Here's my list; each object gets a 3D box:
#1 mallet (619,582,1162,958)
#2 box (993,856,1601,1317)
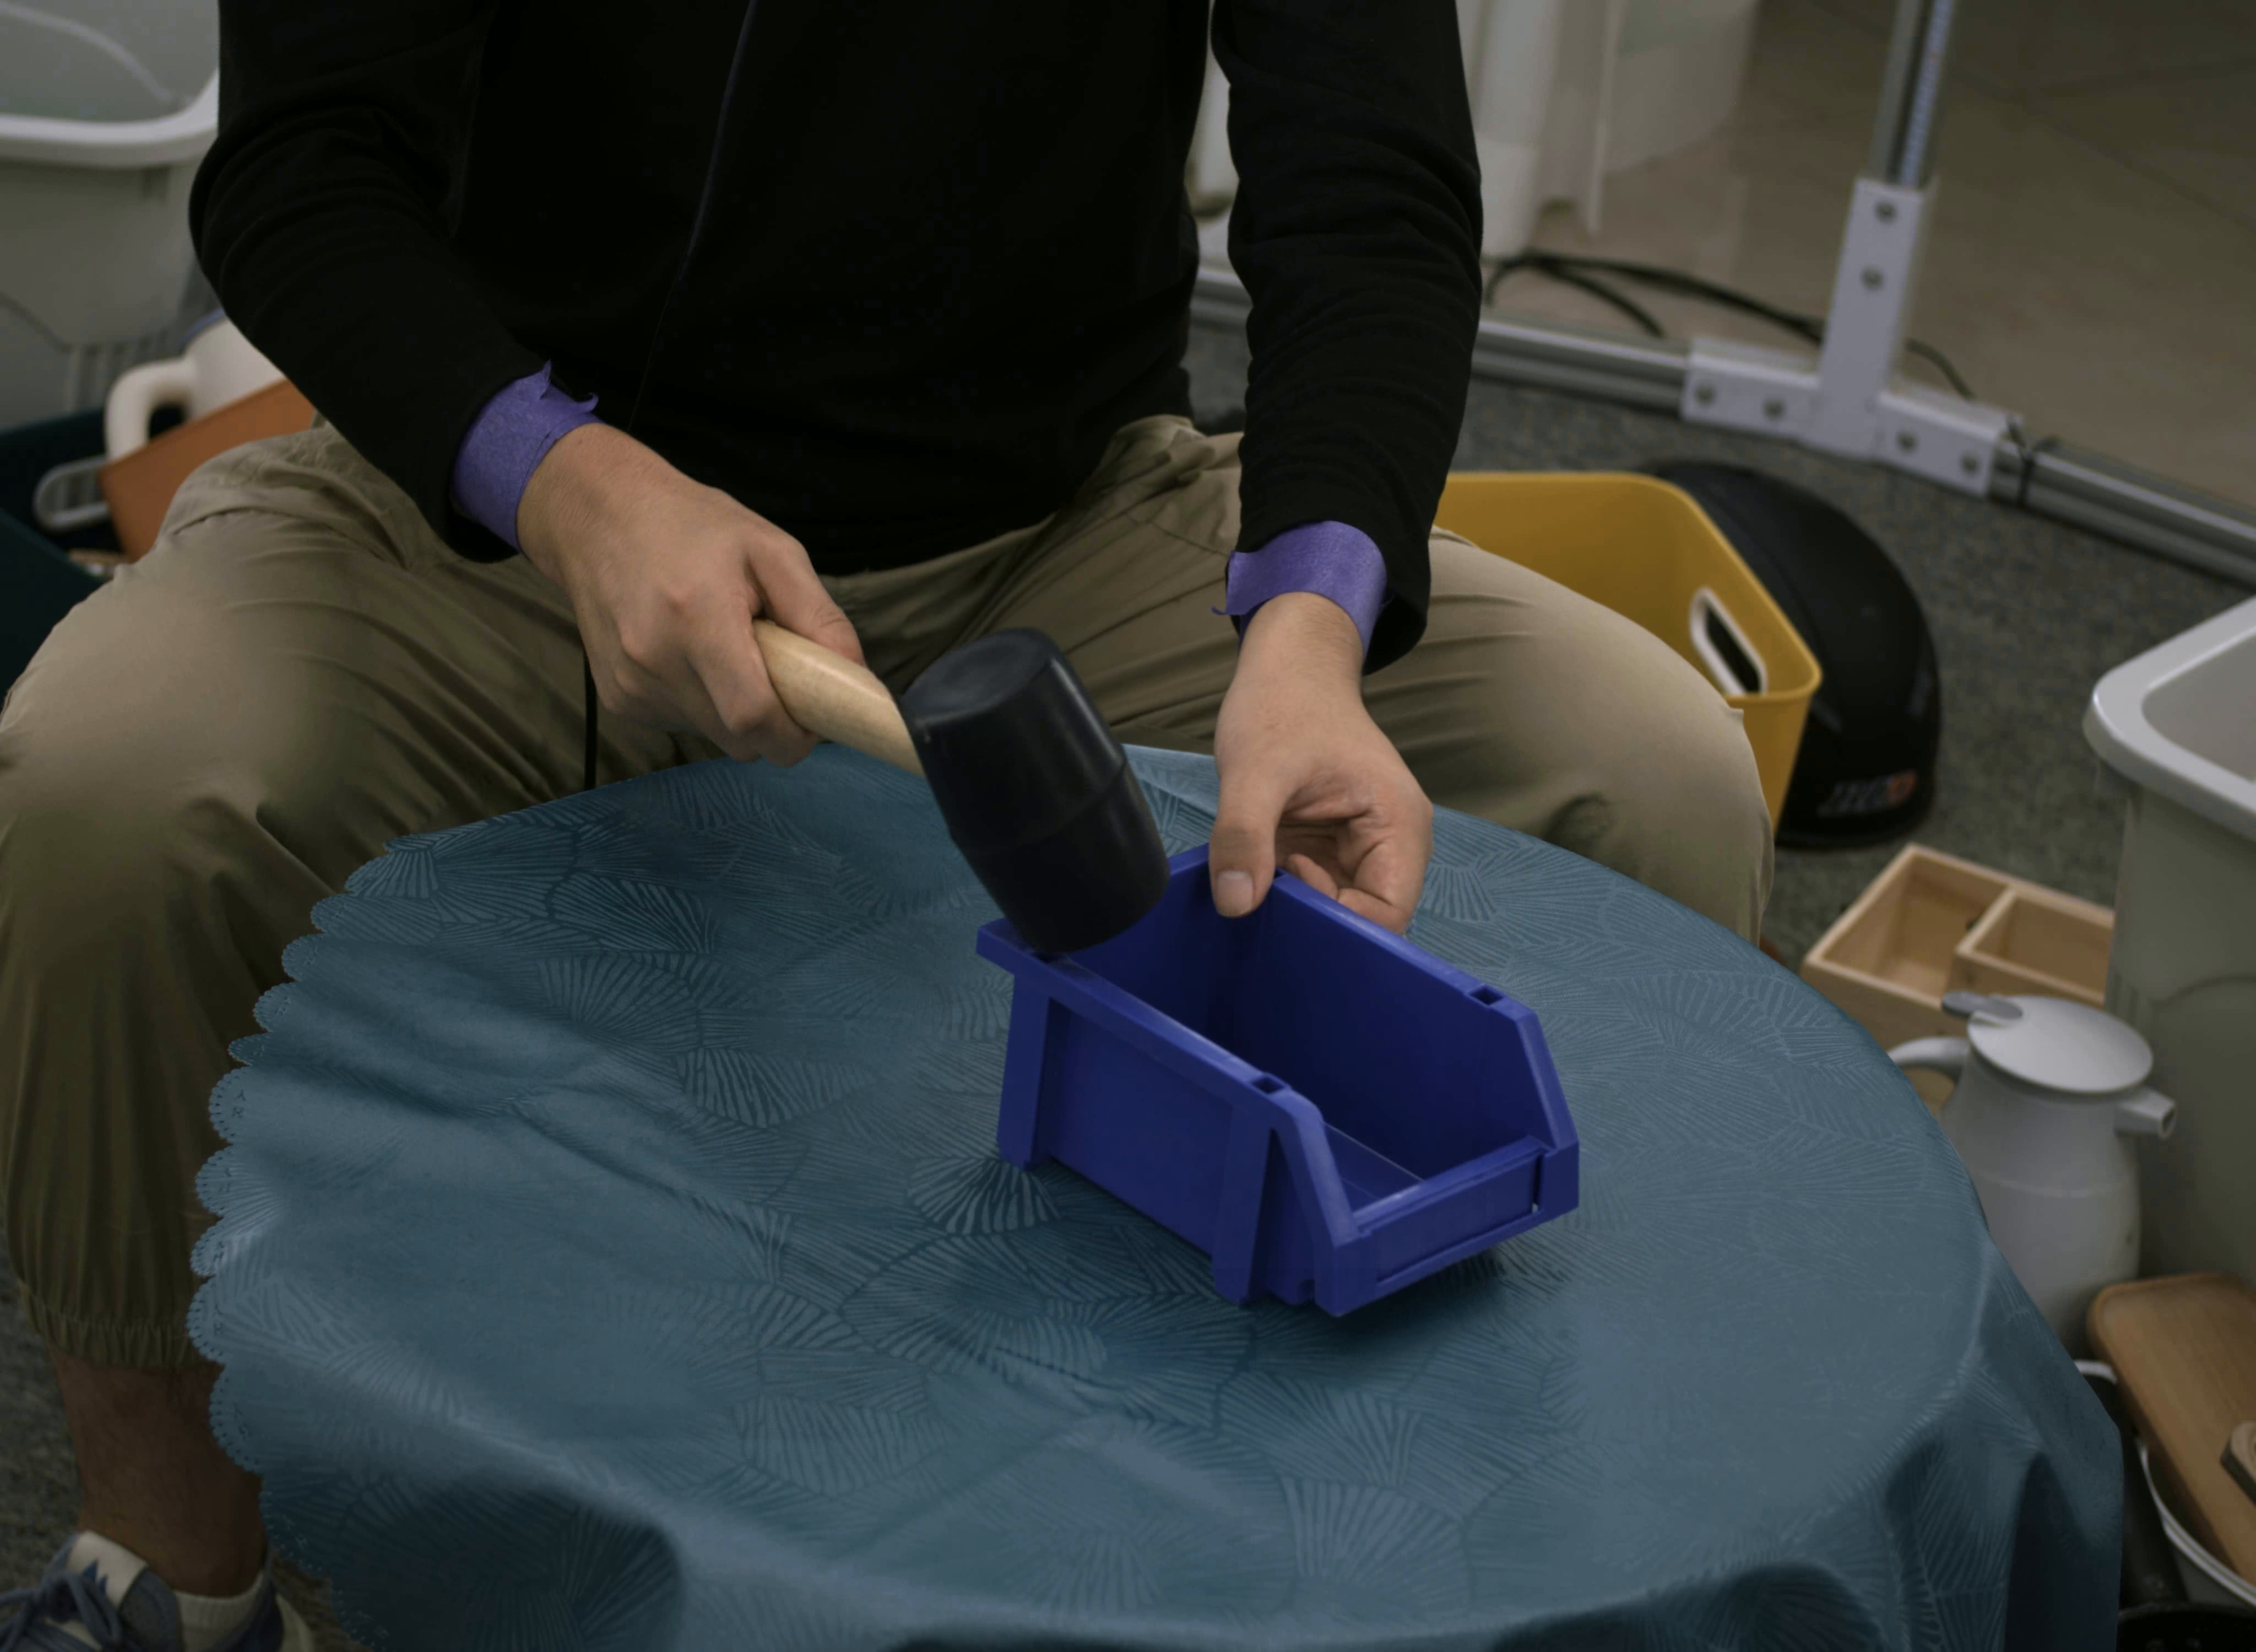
[{"bbox_3d":[-0.093,-0.046,1.883,0.064,0.101,0.341,-32,26,-15],"label":"mallet"},{"bbox_3d":[0.057,0.091,1.792,0.124,0.081,0.181,-18,32,-40],"label":"box"}]
